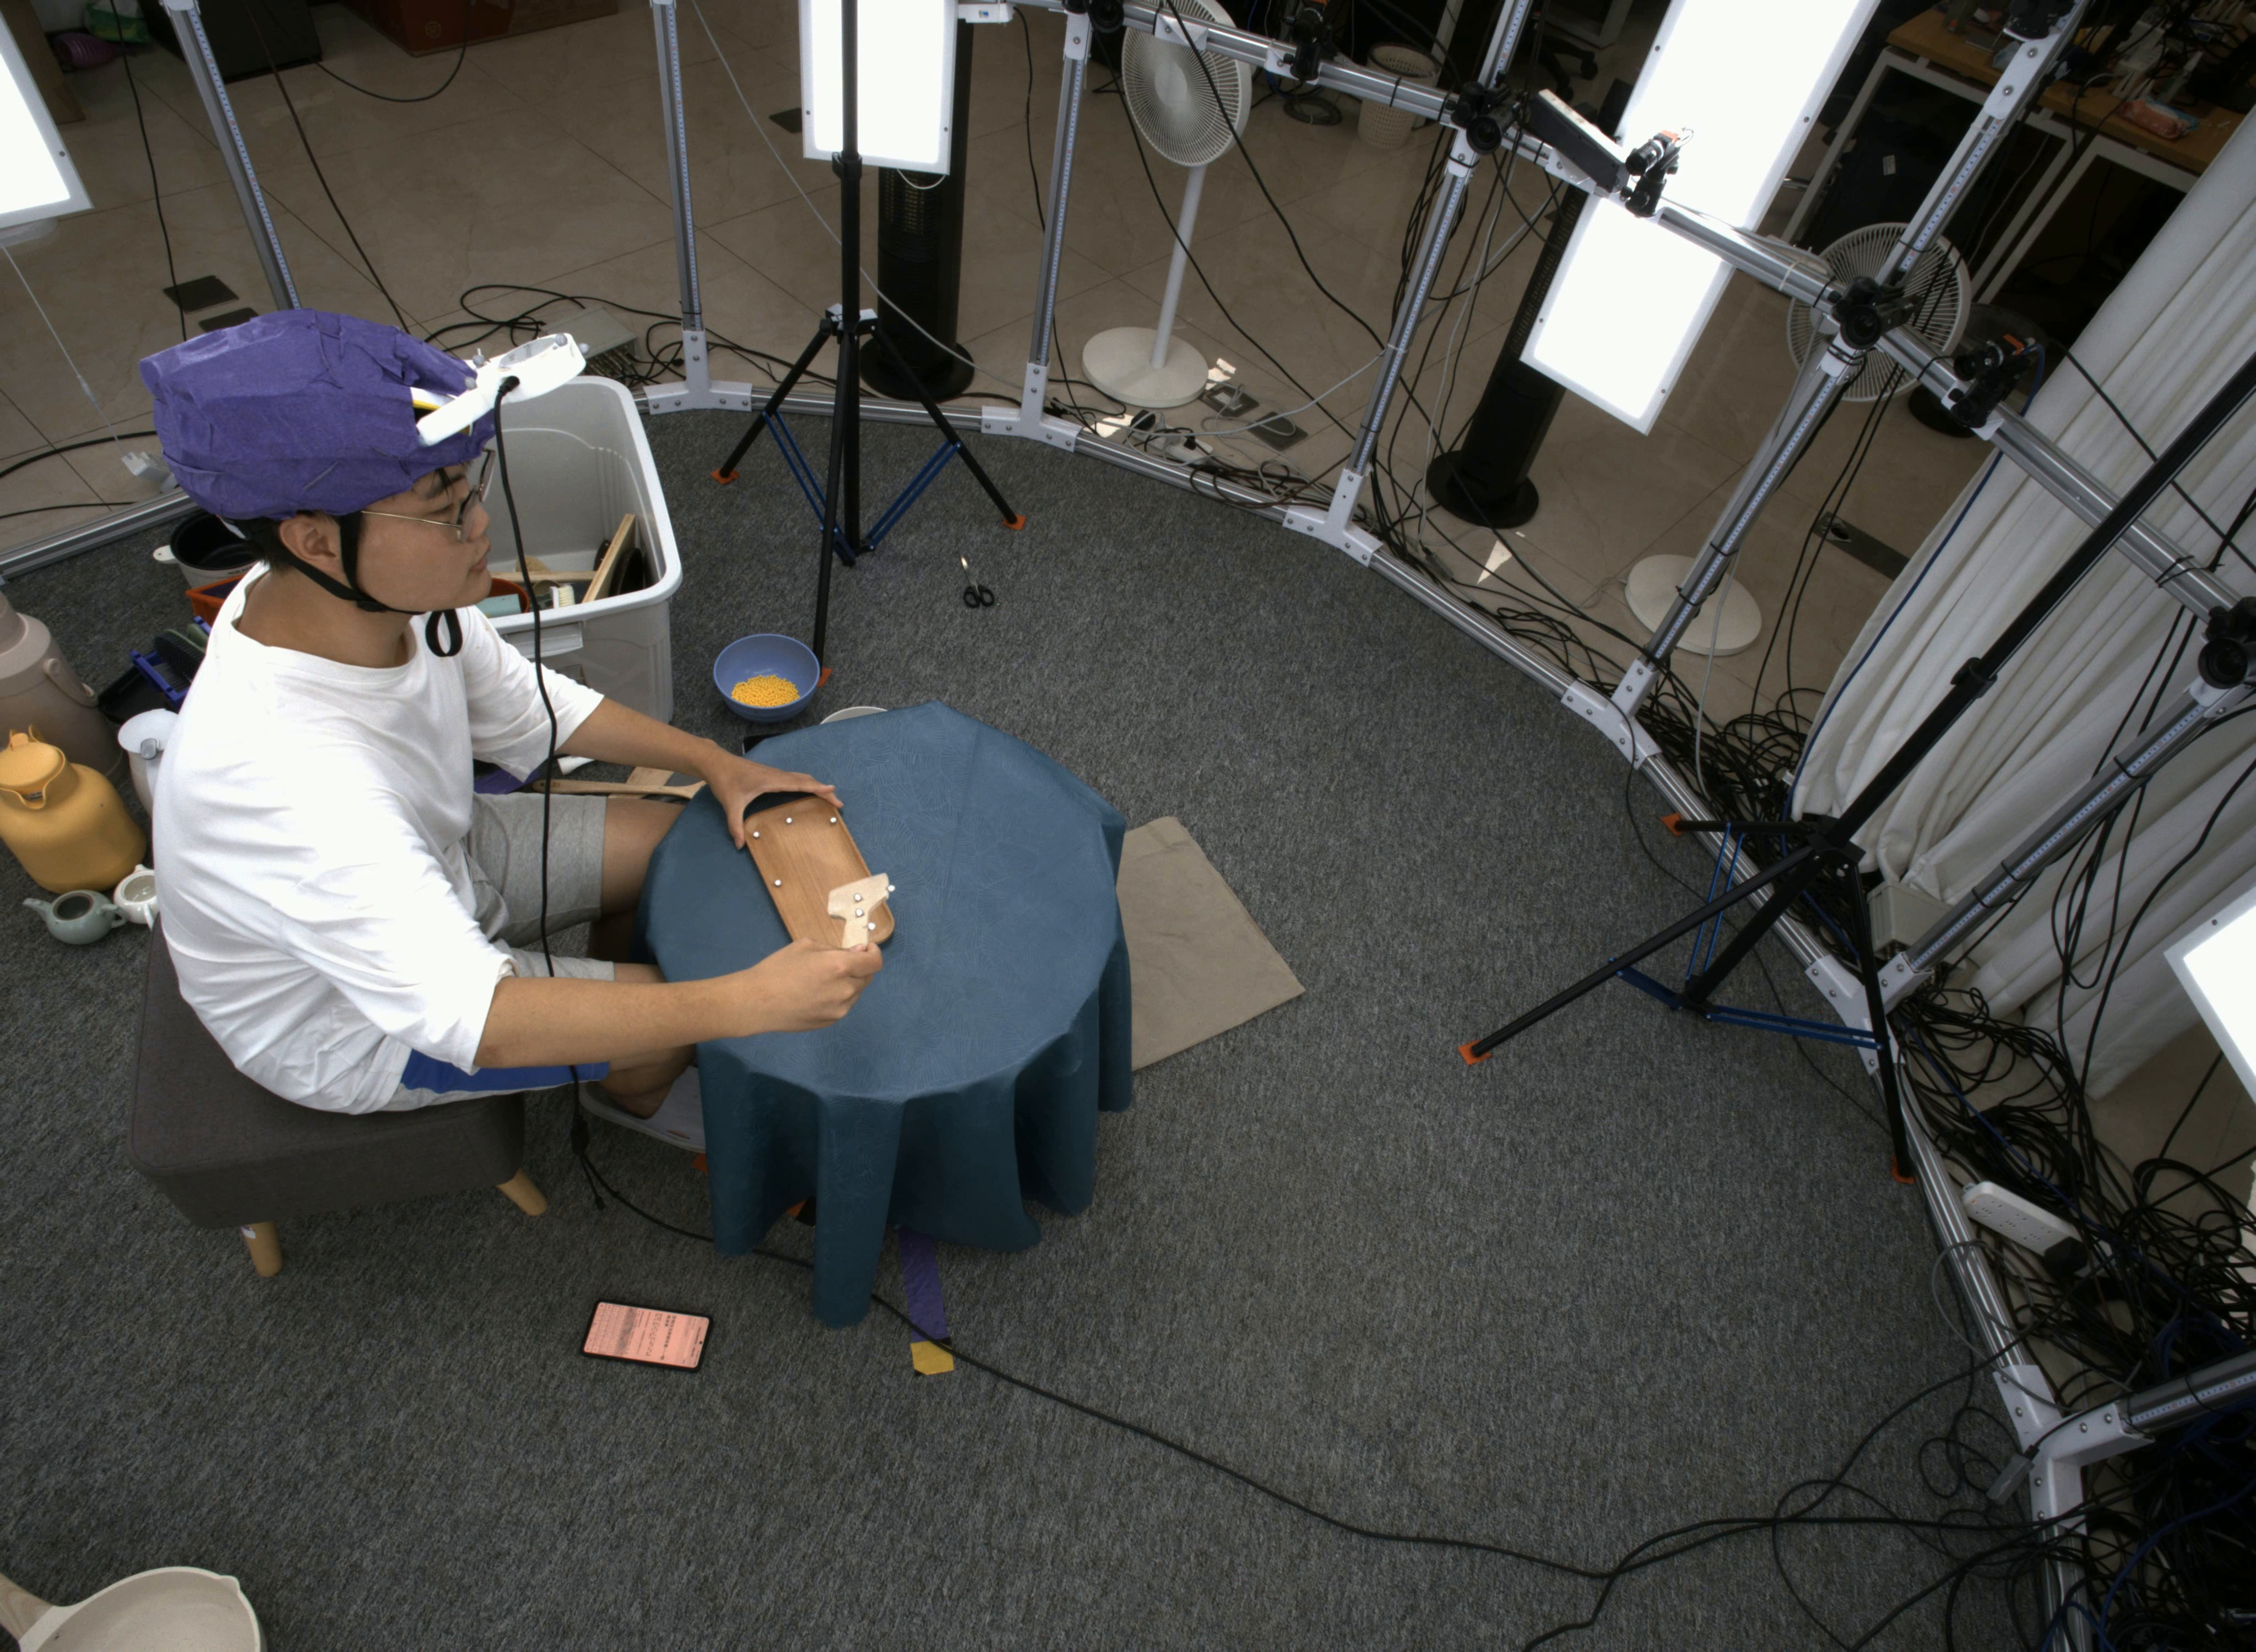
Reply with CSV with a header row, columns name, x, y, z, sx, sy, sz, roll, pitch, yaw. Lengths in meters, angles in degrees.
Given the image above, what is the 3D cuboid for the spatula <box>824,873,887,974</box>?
name,x,y,z,sx,sy,sz,roll,pitch,yaw
spatula,-0.289,0.100,1.360,0.072,0.011,0.286,-18,16,-5

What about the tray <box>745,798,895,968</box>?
name,x,y,z,sx,sy,sz,roll,pitch,yaw
tray,-0.400,0.069,1.680,0.131,0.023,0.244,-20,62,-22
